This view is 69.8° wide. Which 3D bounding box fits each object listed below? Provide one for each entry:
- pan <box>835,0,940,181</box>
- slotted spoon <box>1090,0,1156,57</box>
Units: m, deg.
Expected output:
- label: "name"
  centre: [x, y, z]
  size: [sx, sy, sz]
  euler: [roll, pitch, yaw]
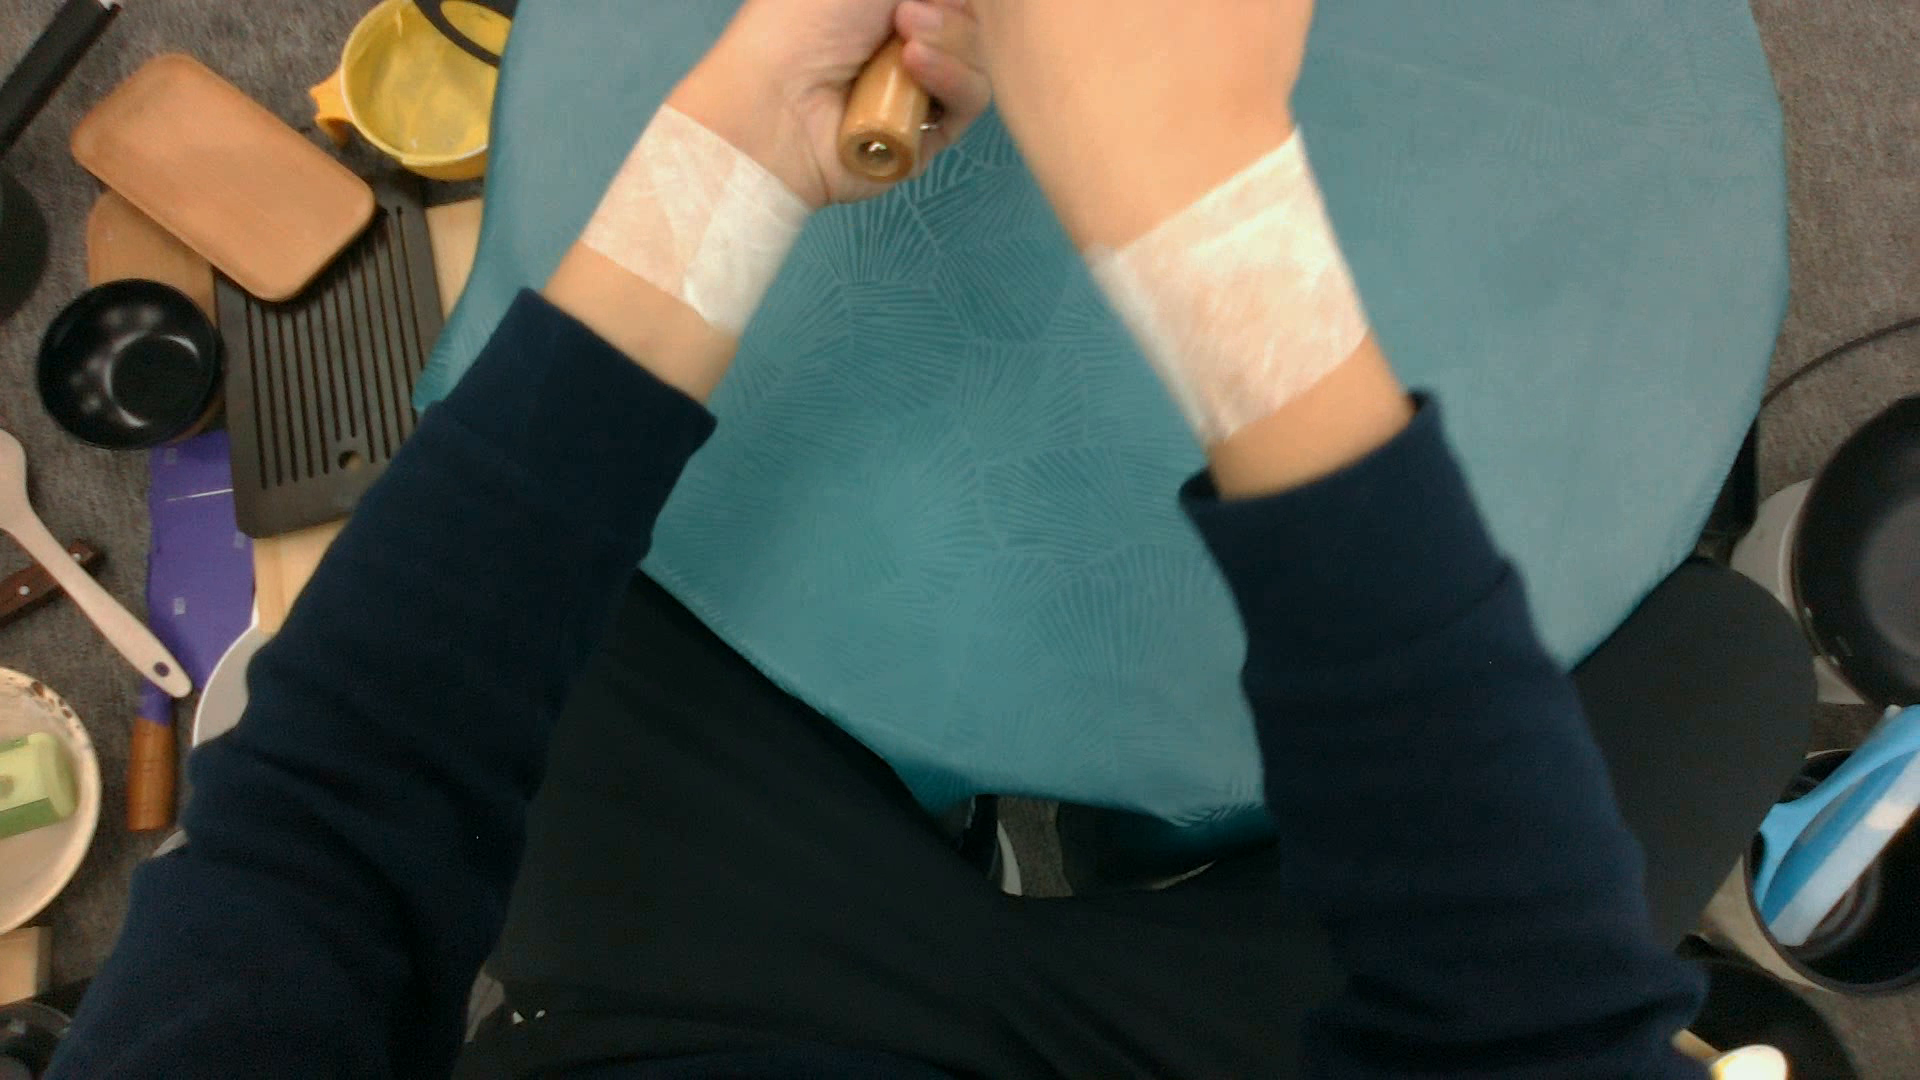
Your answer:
- label: "pan"
  centre: [-0.007, -0.265, 0.519]
  size: [0.207, 0.108, 0.344]
  euler: [6, 73, -1]
- label: "slotted spoon"
  centre: [0.010, -0.269, 0.485]
  size: [0.137, 0.050, 0.349]
  euler: [5, 41, -21]
